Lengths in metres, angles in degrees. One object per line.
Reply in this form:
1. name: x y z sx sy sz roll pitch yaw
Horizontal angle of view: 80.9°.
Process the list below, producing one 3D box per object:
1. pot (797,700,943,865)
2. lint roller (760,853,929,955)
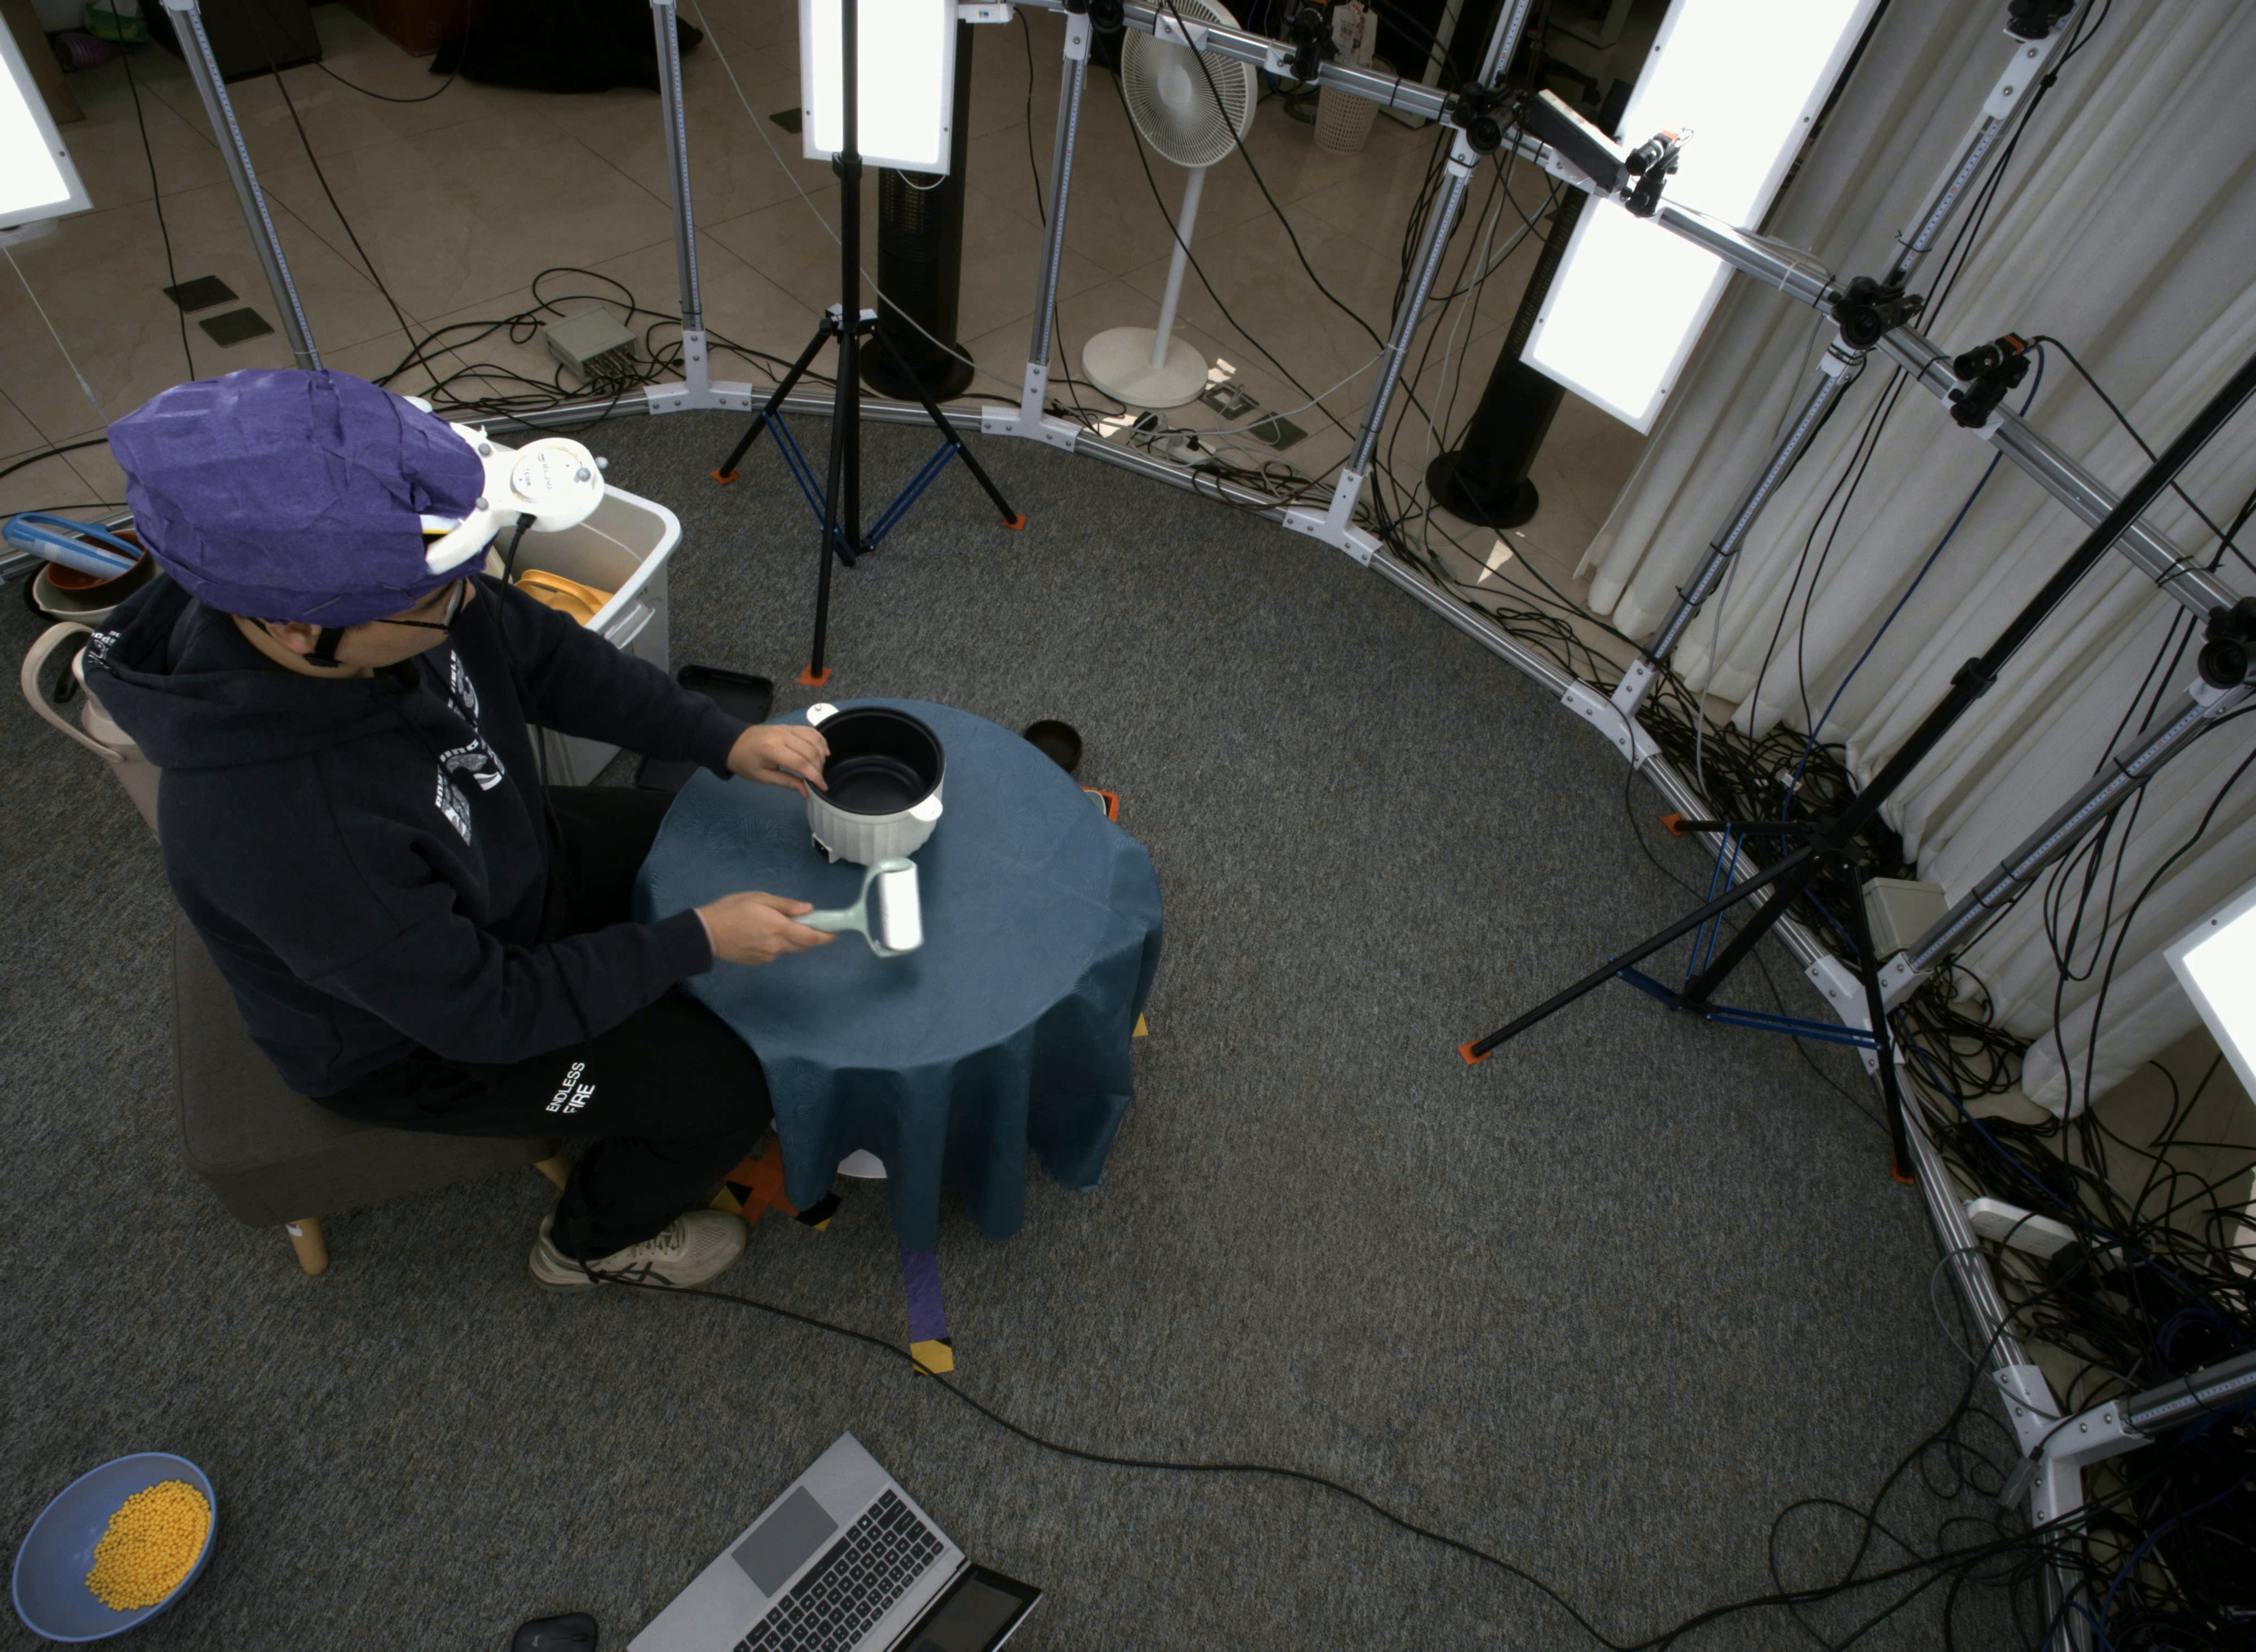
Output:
1. pot: -0.330 -0.052 1.693 0.235 0.145 0.191 41 58 16
2. lint roller: -0.337 0.102 1.543 0.199 0.120 0.047 -10 20 -26
